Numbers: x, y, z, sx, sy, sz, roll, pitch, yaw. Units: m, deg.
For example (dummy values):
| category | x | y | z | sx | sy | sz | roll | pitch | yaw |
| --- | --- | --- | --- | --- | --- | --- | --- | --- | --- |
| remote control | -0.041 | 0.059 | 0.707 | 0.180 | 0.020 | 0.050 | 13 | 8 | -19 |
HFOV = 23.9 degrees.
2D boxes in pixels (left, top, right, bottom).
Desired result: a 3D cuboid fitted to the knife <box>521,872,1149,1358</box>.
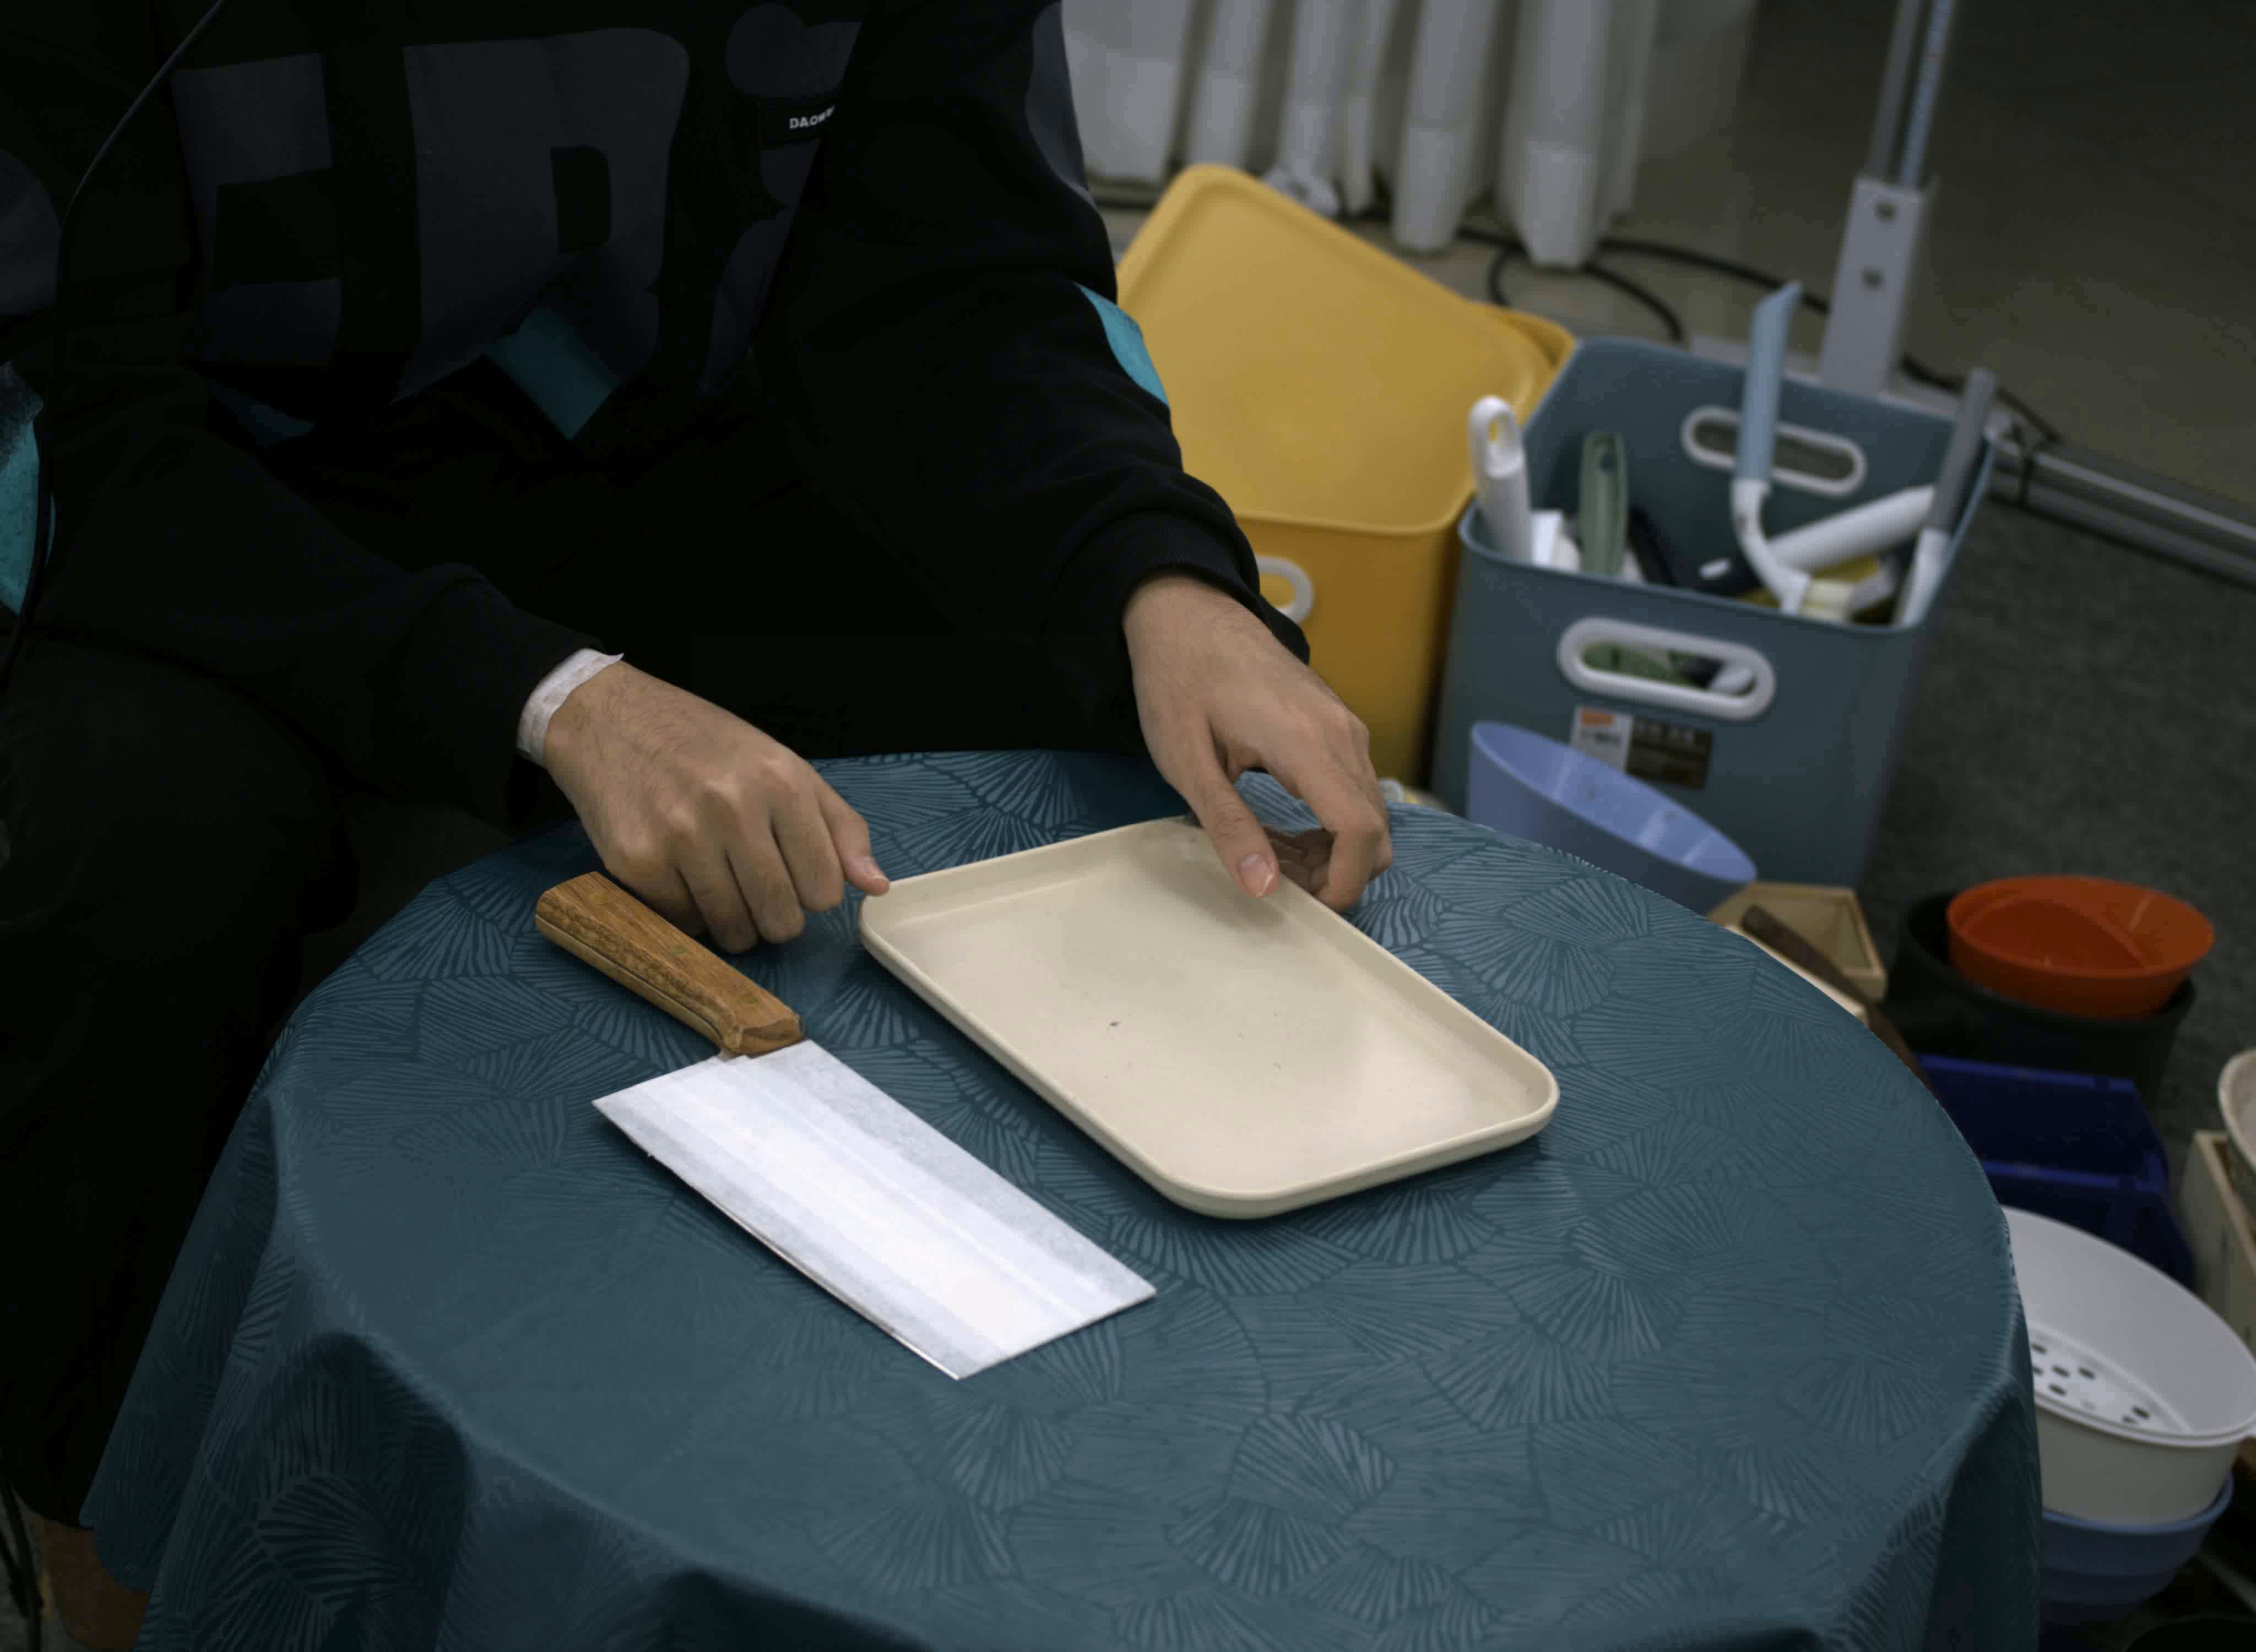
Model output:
| category | x | y | z | sx | sy | sz | roll | pitch | yaw |
| --- | --- | --- | --- | --- | --- | --- | --- | --- | --- |
| knife | -0.123 | 0.098 | 1.808 | 0.092 | 0.021 | 0.308 | -20 | 39 | -39 |

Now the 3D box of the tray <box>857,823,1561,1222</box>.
| category | x | y | z | sx | sy | sz | roll | pitch | yaw |
| --- | --- | --- | --- | --- | --- | --- | --- | --- | --- |
| tray | 0.026 | 0.068 | 1.896 | 0.170 | 0.017 | 0.242 | -14 | 33 | -33 |
